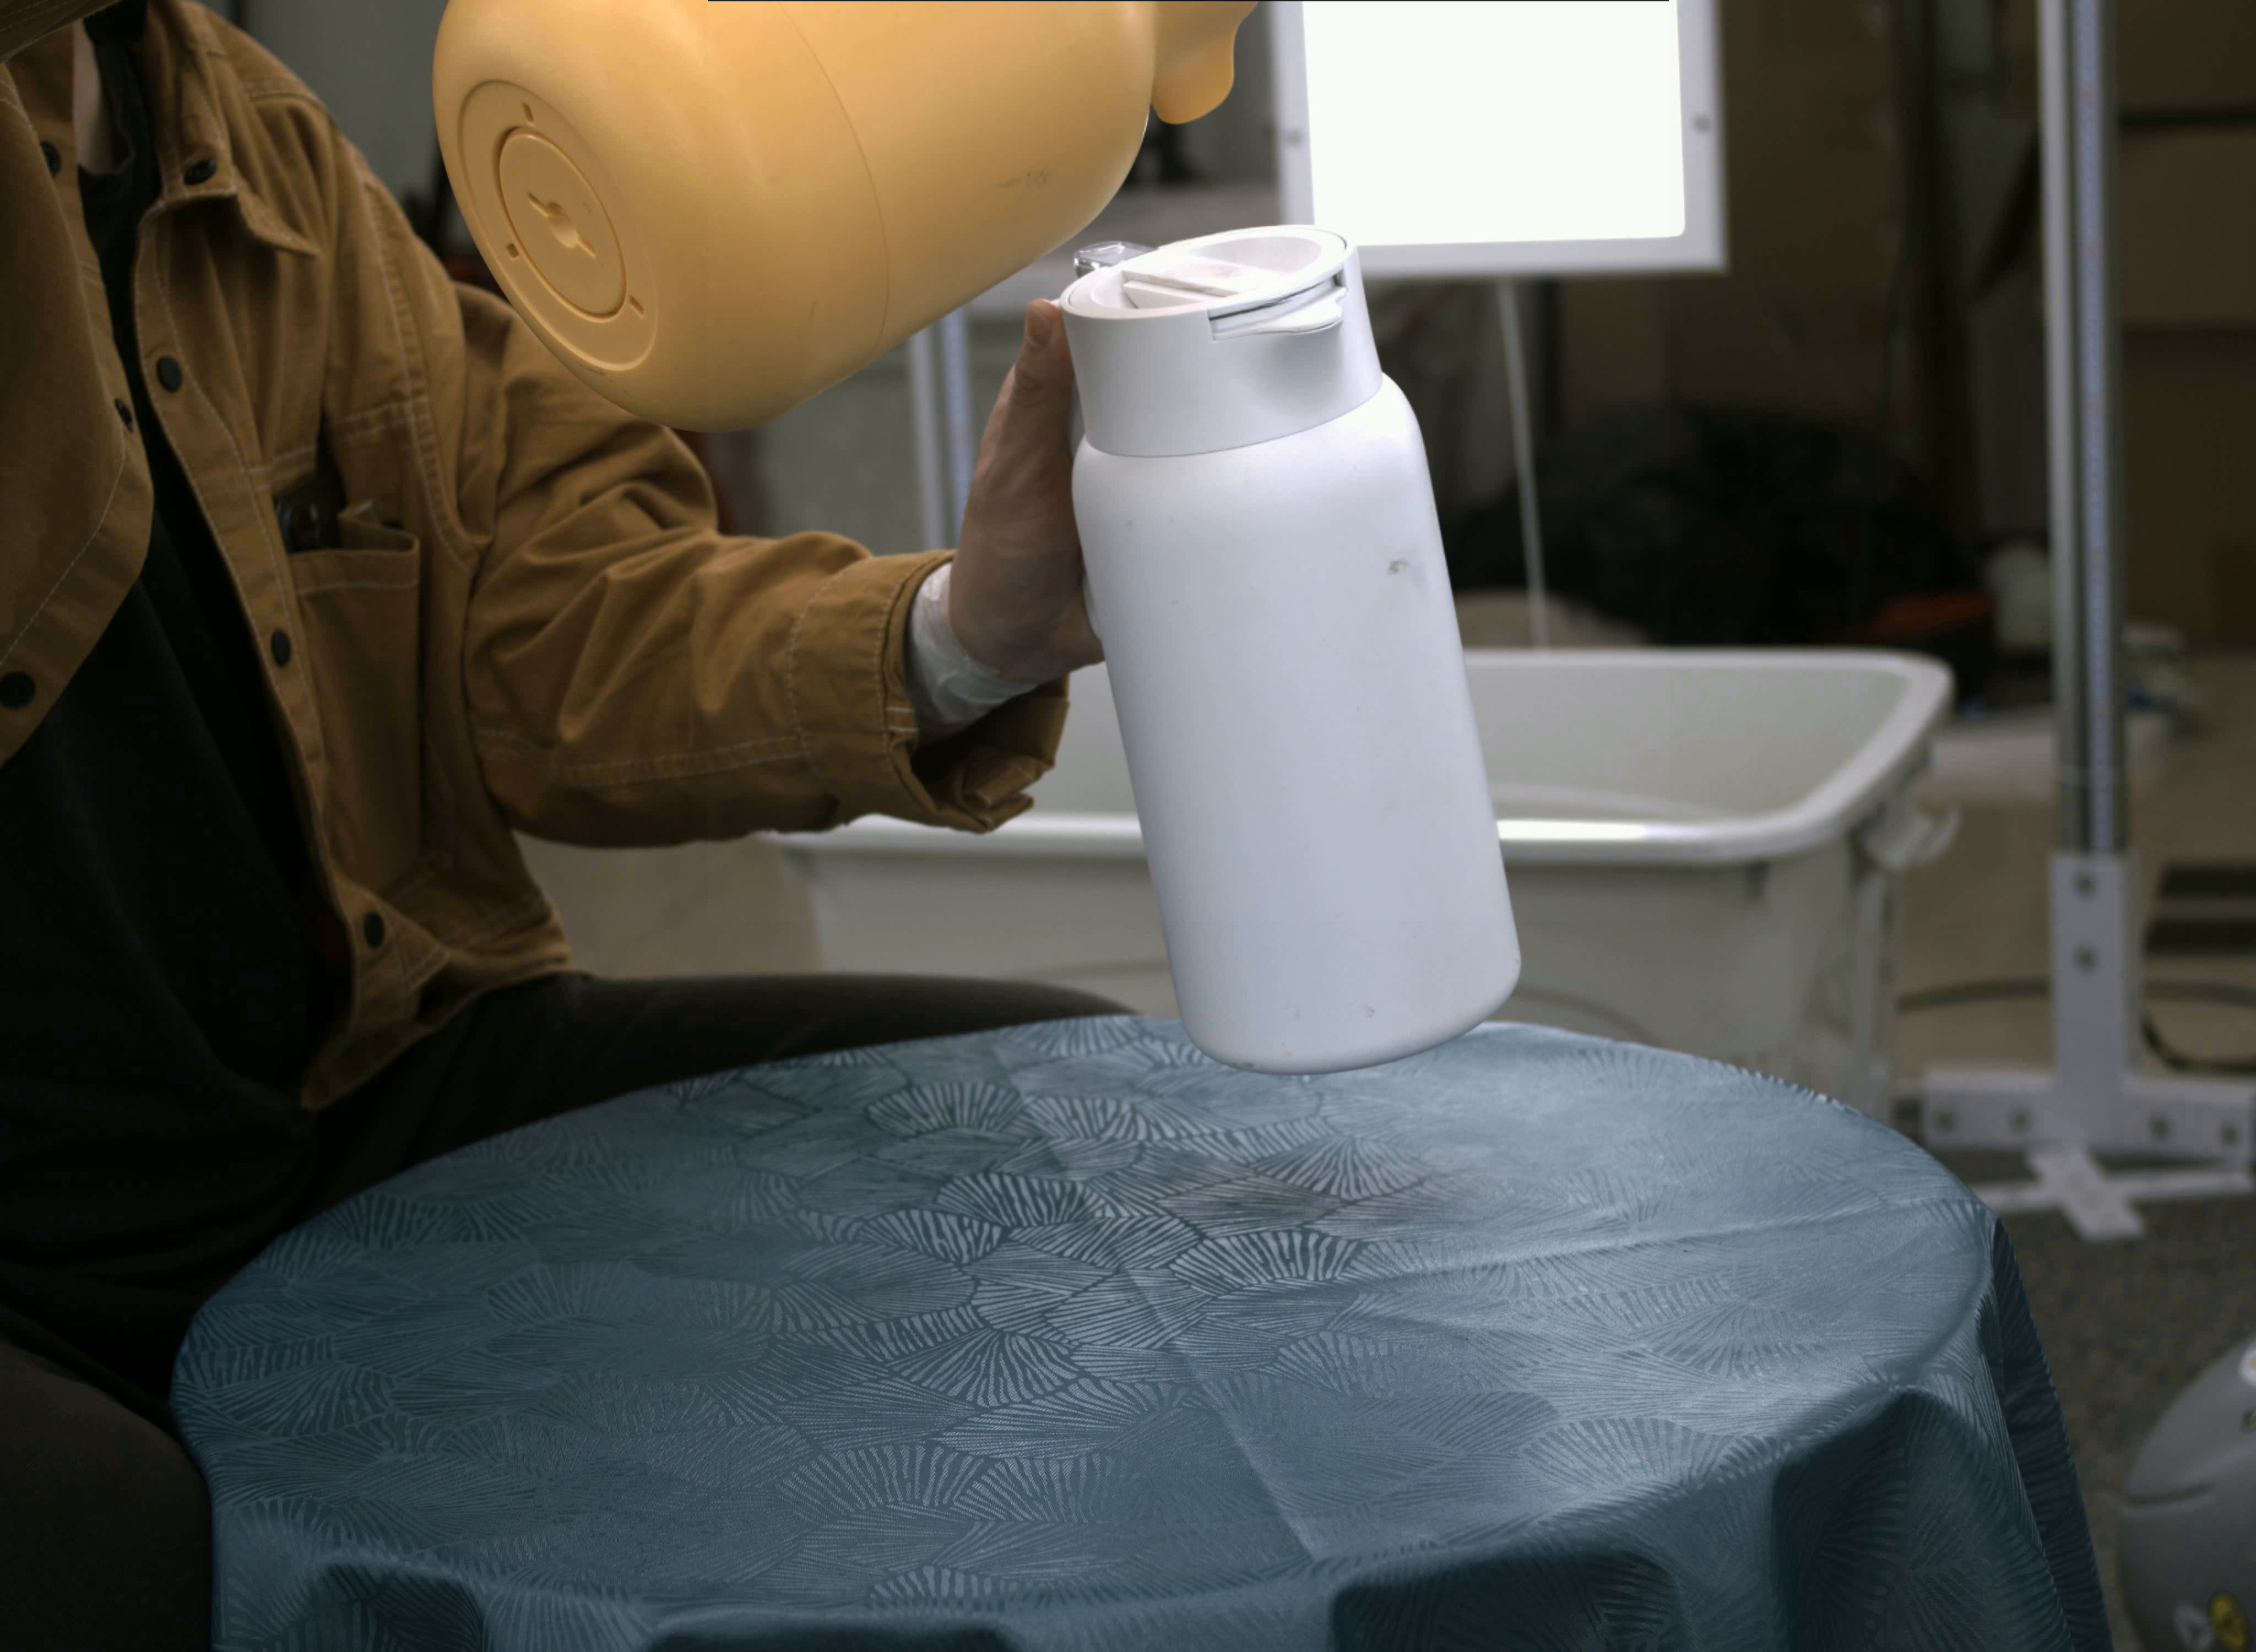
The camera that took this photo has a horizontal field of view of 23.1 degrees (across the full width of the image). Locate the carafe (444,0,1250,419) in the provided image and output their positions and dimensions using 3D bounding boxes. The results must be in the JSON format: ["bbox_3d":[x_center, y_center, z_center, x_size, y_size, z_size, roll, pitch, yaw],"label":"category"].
[{"bbox_3d":[-0.076,-0.259,1.663,0.255,0.202,0.167,-34,33,-31],"label":"carafe"}]

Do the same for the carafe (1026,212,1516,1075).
[{"bbox_3d":[0.040,-0.062,1.829,0.121,0.269,0.176,-24,22,-26],"label":"carafe"}]
